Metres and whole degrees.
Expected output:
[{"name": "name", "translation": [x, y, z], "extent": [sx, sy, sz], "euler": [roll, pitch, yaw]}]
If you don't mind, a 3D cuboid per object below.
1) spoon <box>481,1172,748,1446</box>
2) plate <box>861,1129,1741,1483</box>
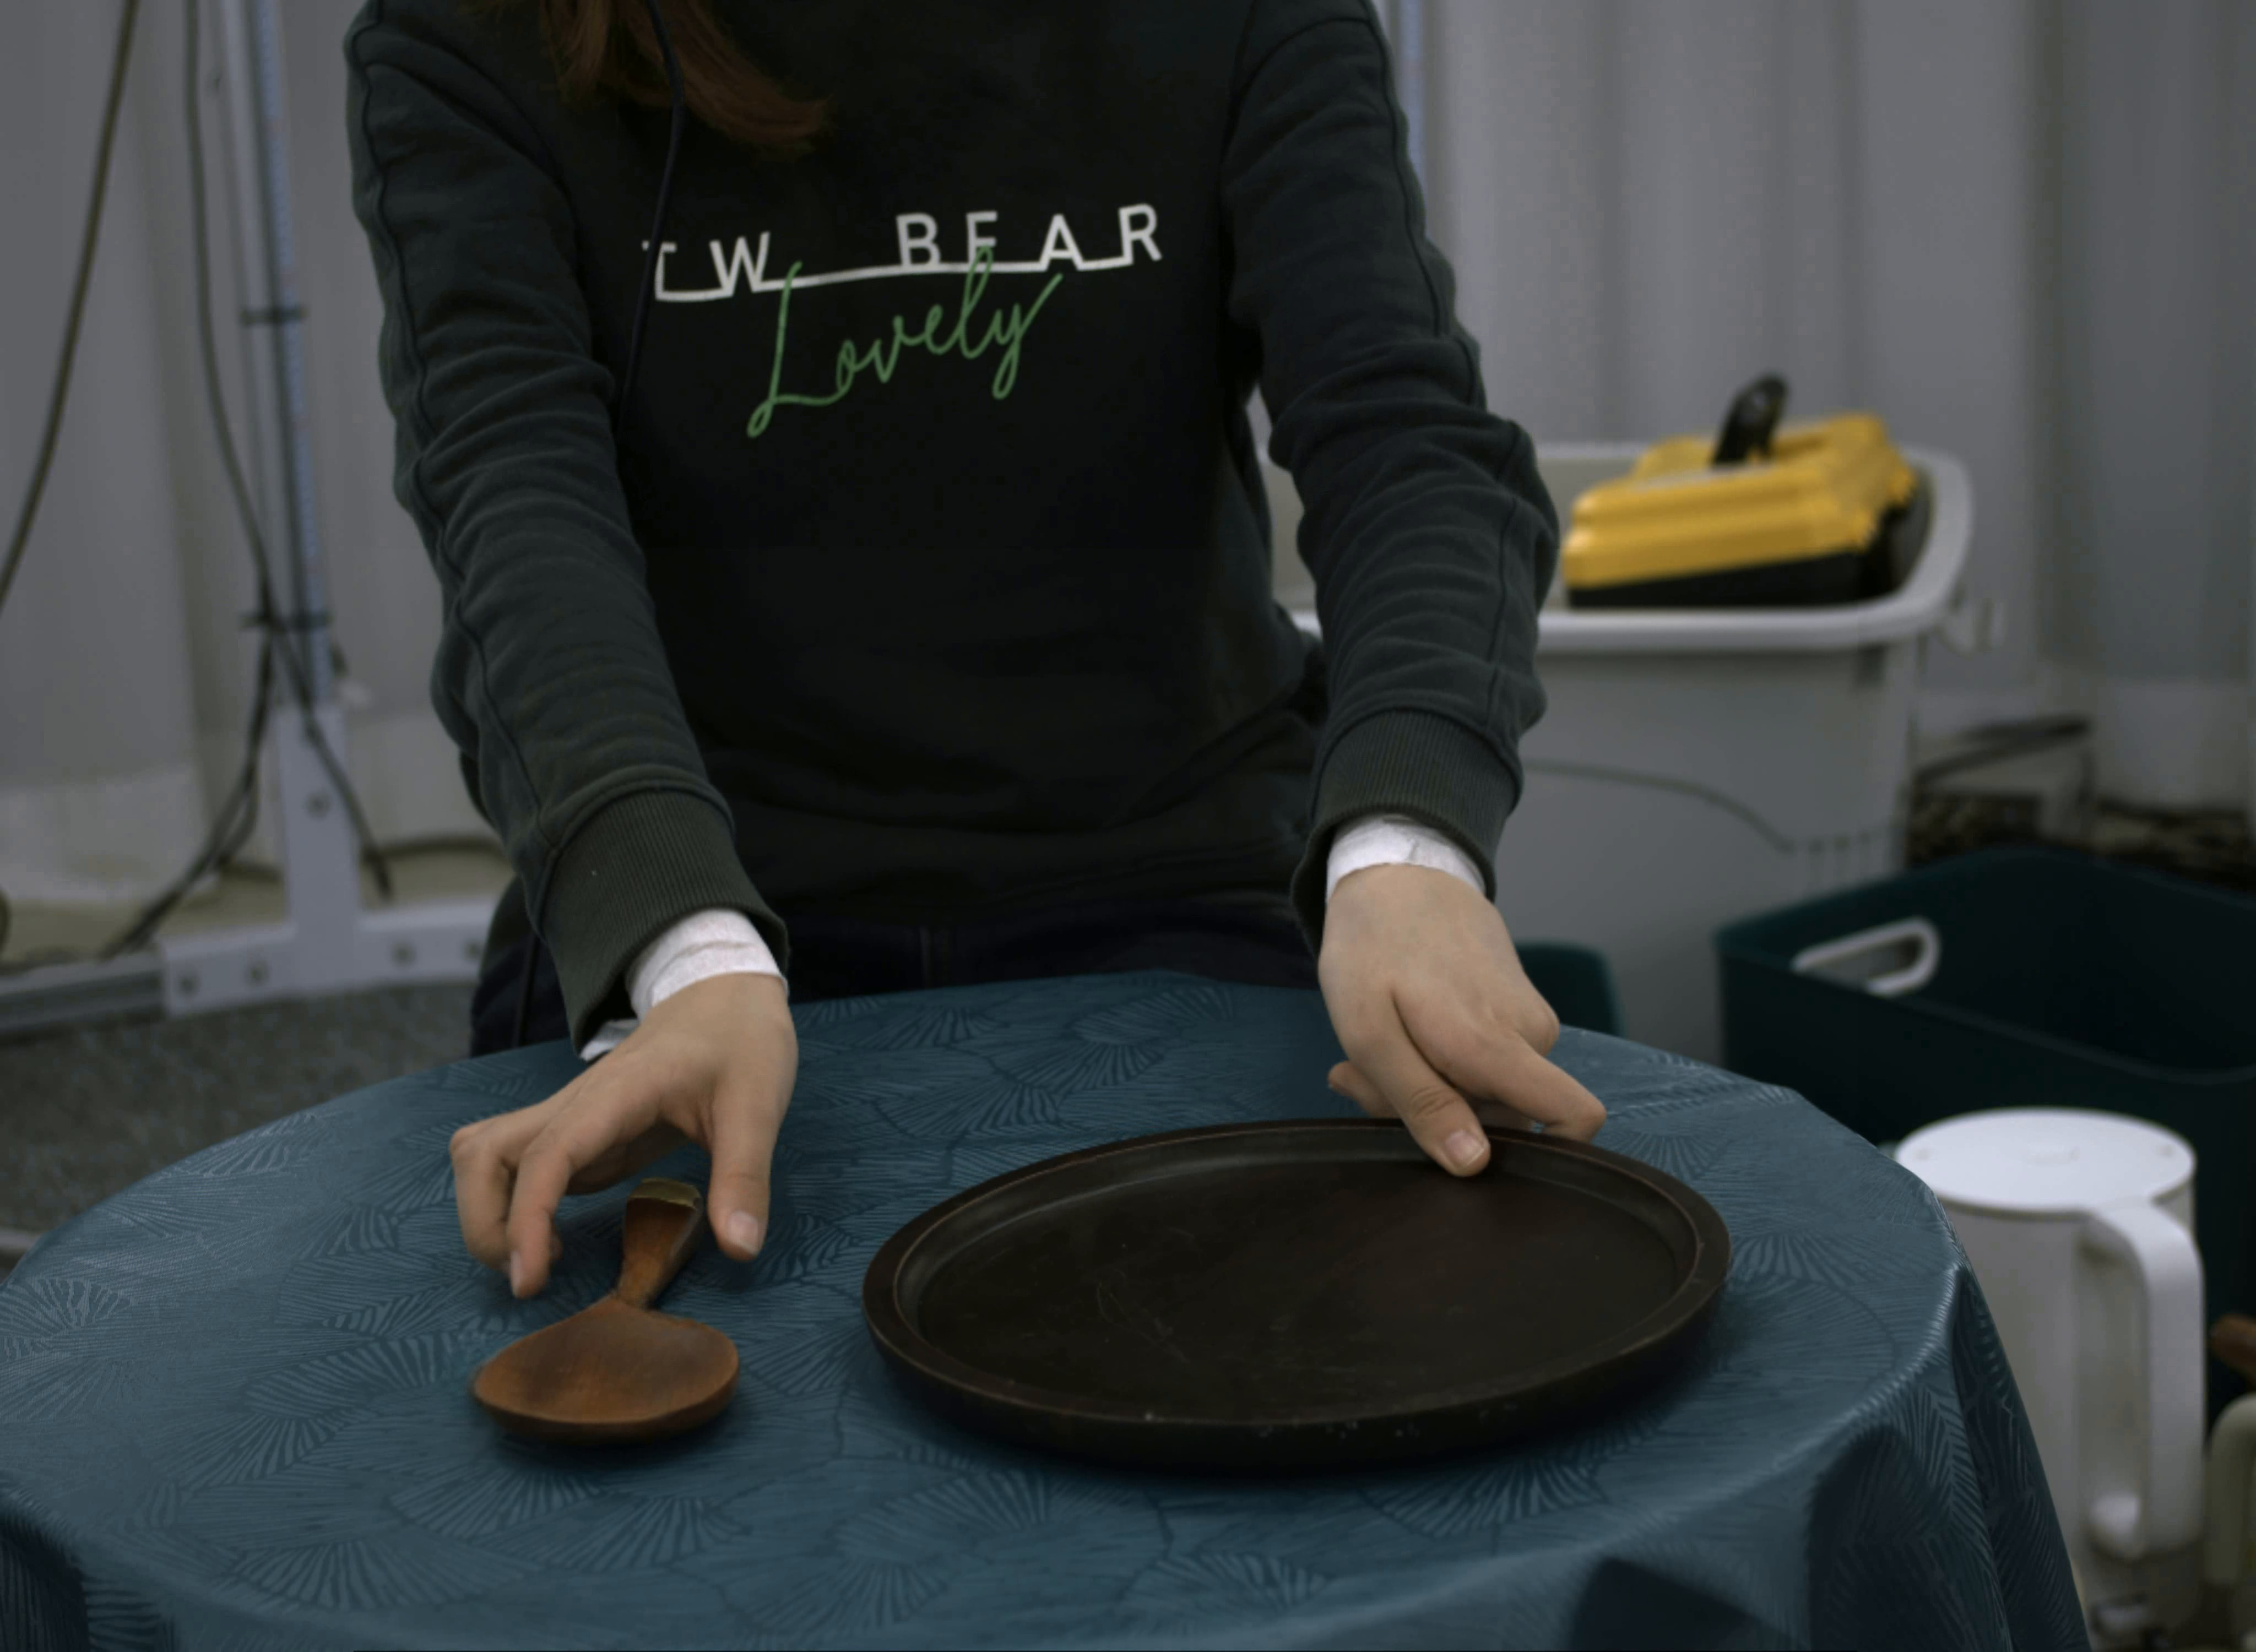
[{"name": "spoon", "translation": [-0.144, 0.143, 1.604], "extent": [0.075, 0.017, 0.217], "euler": [-3, 15, 1]}, {"name": "plate", "translation": [0.049, 0.135, 1.578], "extent": [0.254, 0.029, 0.257], "euler": [-3, 16, 1]}]
